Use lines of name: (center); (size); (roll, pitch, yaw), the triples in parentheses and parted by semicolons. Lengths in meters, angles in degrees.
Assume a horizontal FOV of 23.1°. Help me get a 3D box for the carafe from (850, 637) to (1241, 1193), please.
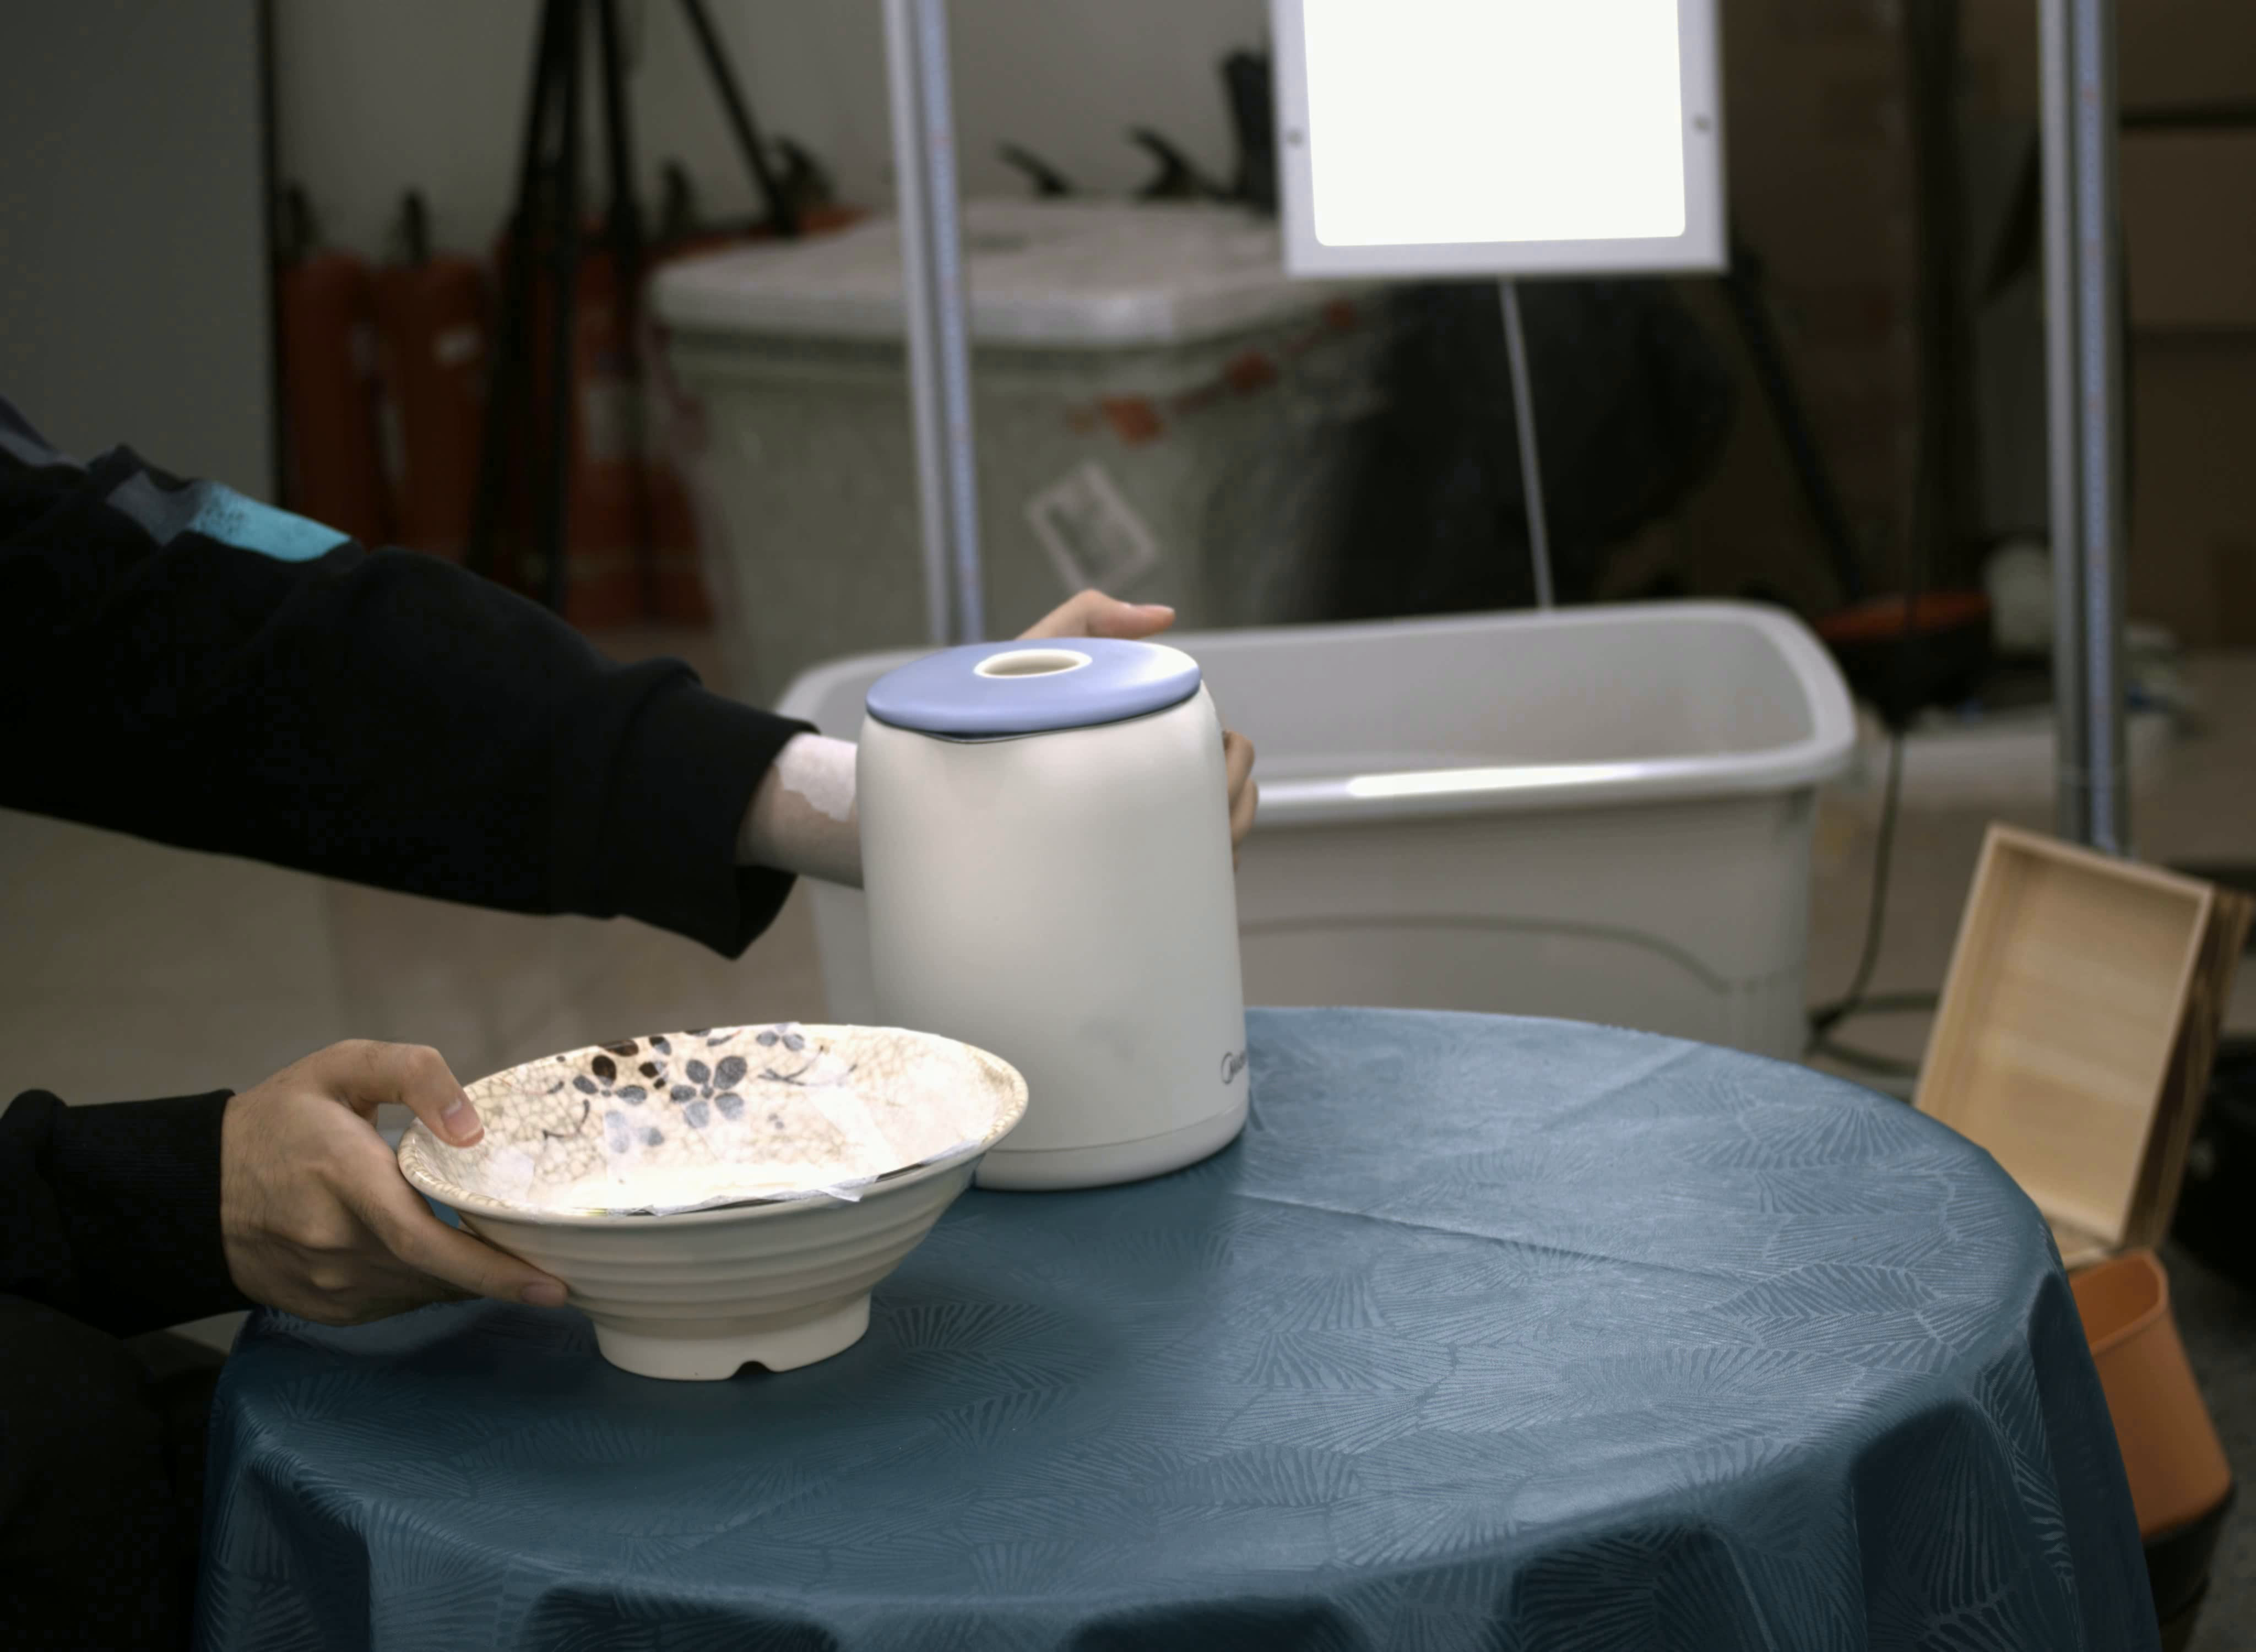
carafe: (-0.022, 0.025, 1.959); (0.134, 0.183, 0.188); (1, 13, 18)

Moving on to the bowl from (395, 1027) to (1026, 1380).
bowl: (-0.129, 0.127, 1.770); (0.203, 0.078, 0.204); (-7, 12, 0)
